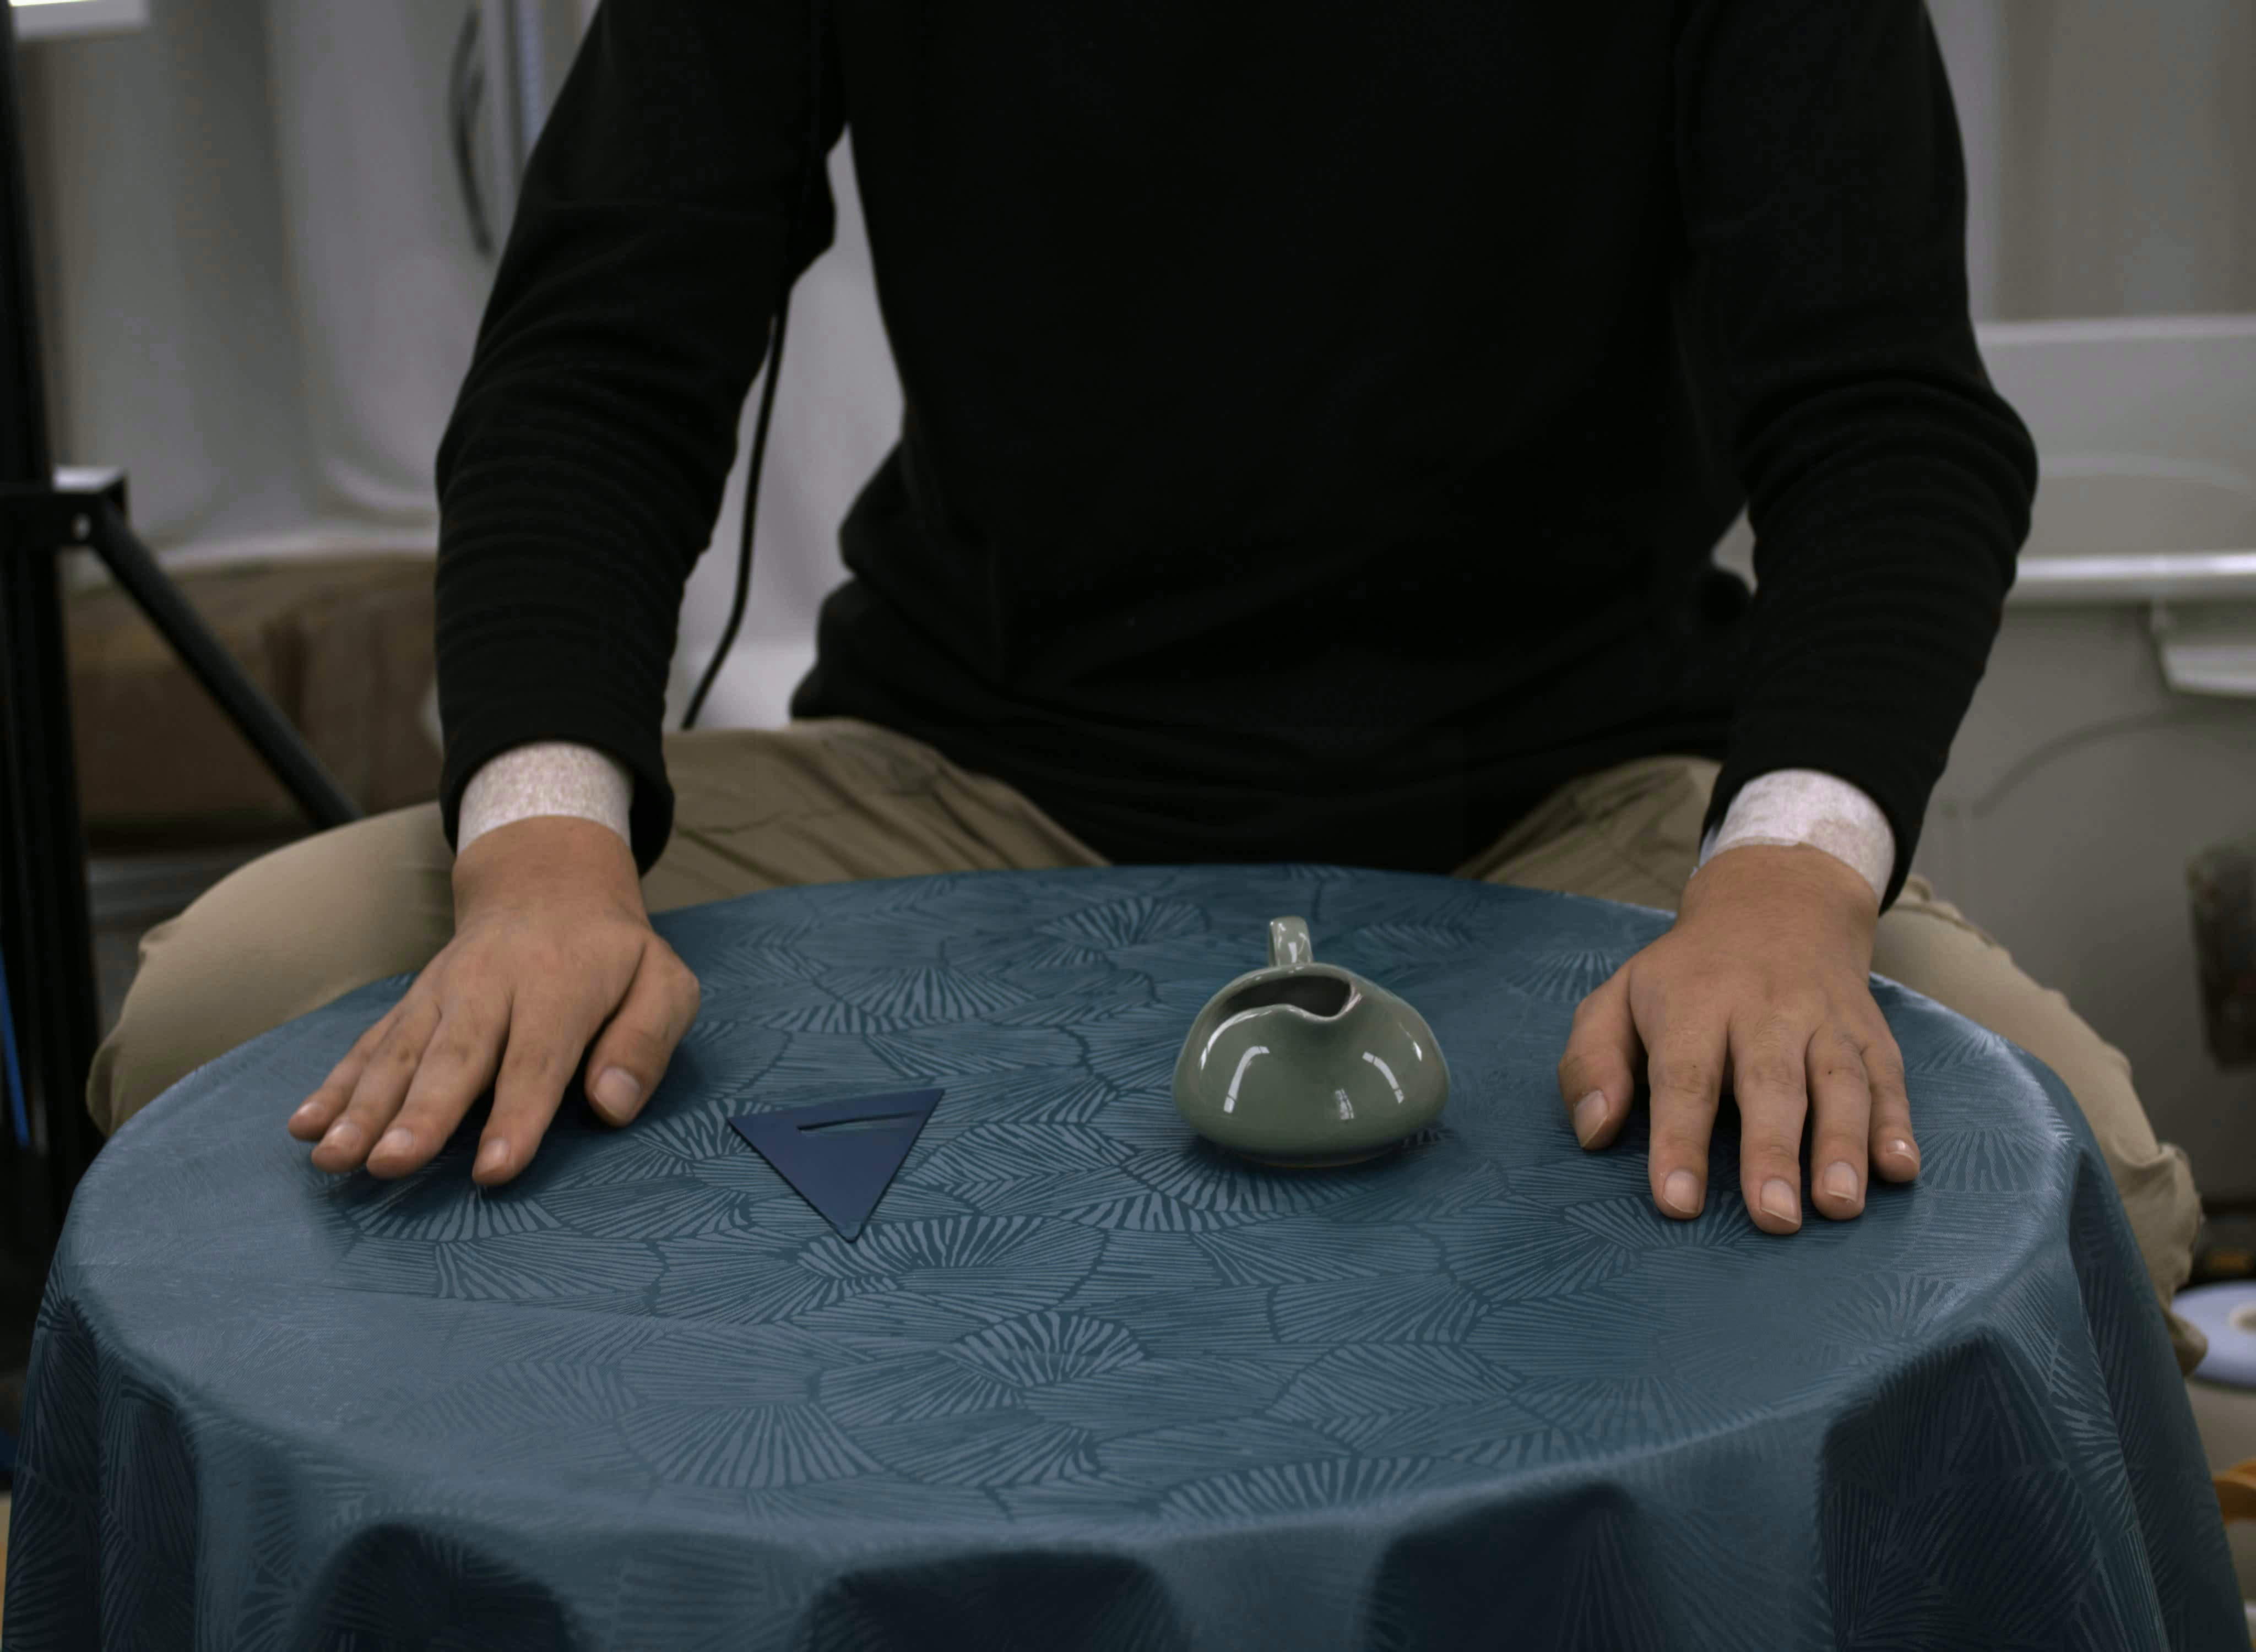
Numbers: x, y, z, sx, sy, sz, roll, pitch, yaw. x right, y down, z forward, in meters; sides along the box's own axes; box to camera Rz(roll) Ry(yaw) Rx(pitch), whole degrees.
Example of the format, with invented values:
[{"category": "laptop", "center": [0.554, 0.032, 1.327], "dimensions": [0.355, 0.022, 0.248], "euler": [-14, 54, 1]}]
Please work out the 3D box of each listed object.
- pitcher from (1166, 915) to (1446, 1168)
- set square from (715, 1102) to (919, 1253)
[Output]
[{"category": "pitcher", "center": [0.053, 0.066, 1.595], "dimensions": [0.083, 0.056, 0.113], "euler": [-1, 15, -5]}, {"category": "set square", "center": [-0.105, 0.102, 1.589], "dimensions": [0.061, 0.006, 0.131], "euler": [2, 17, 13]}]
